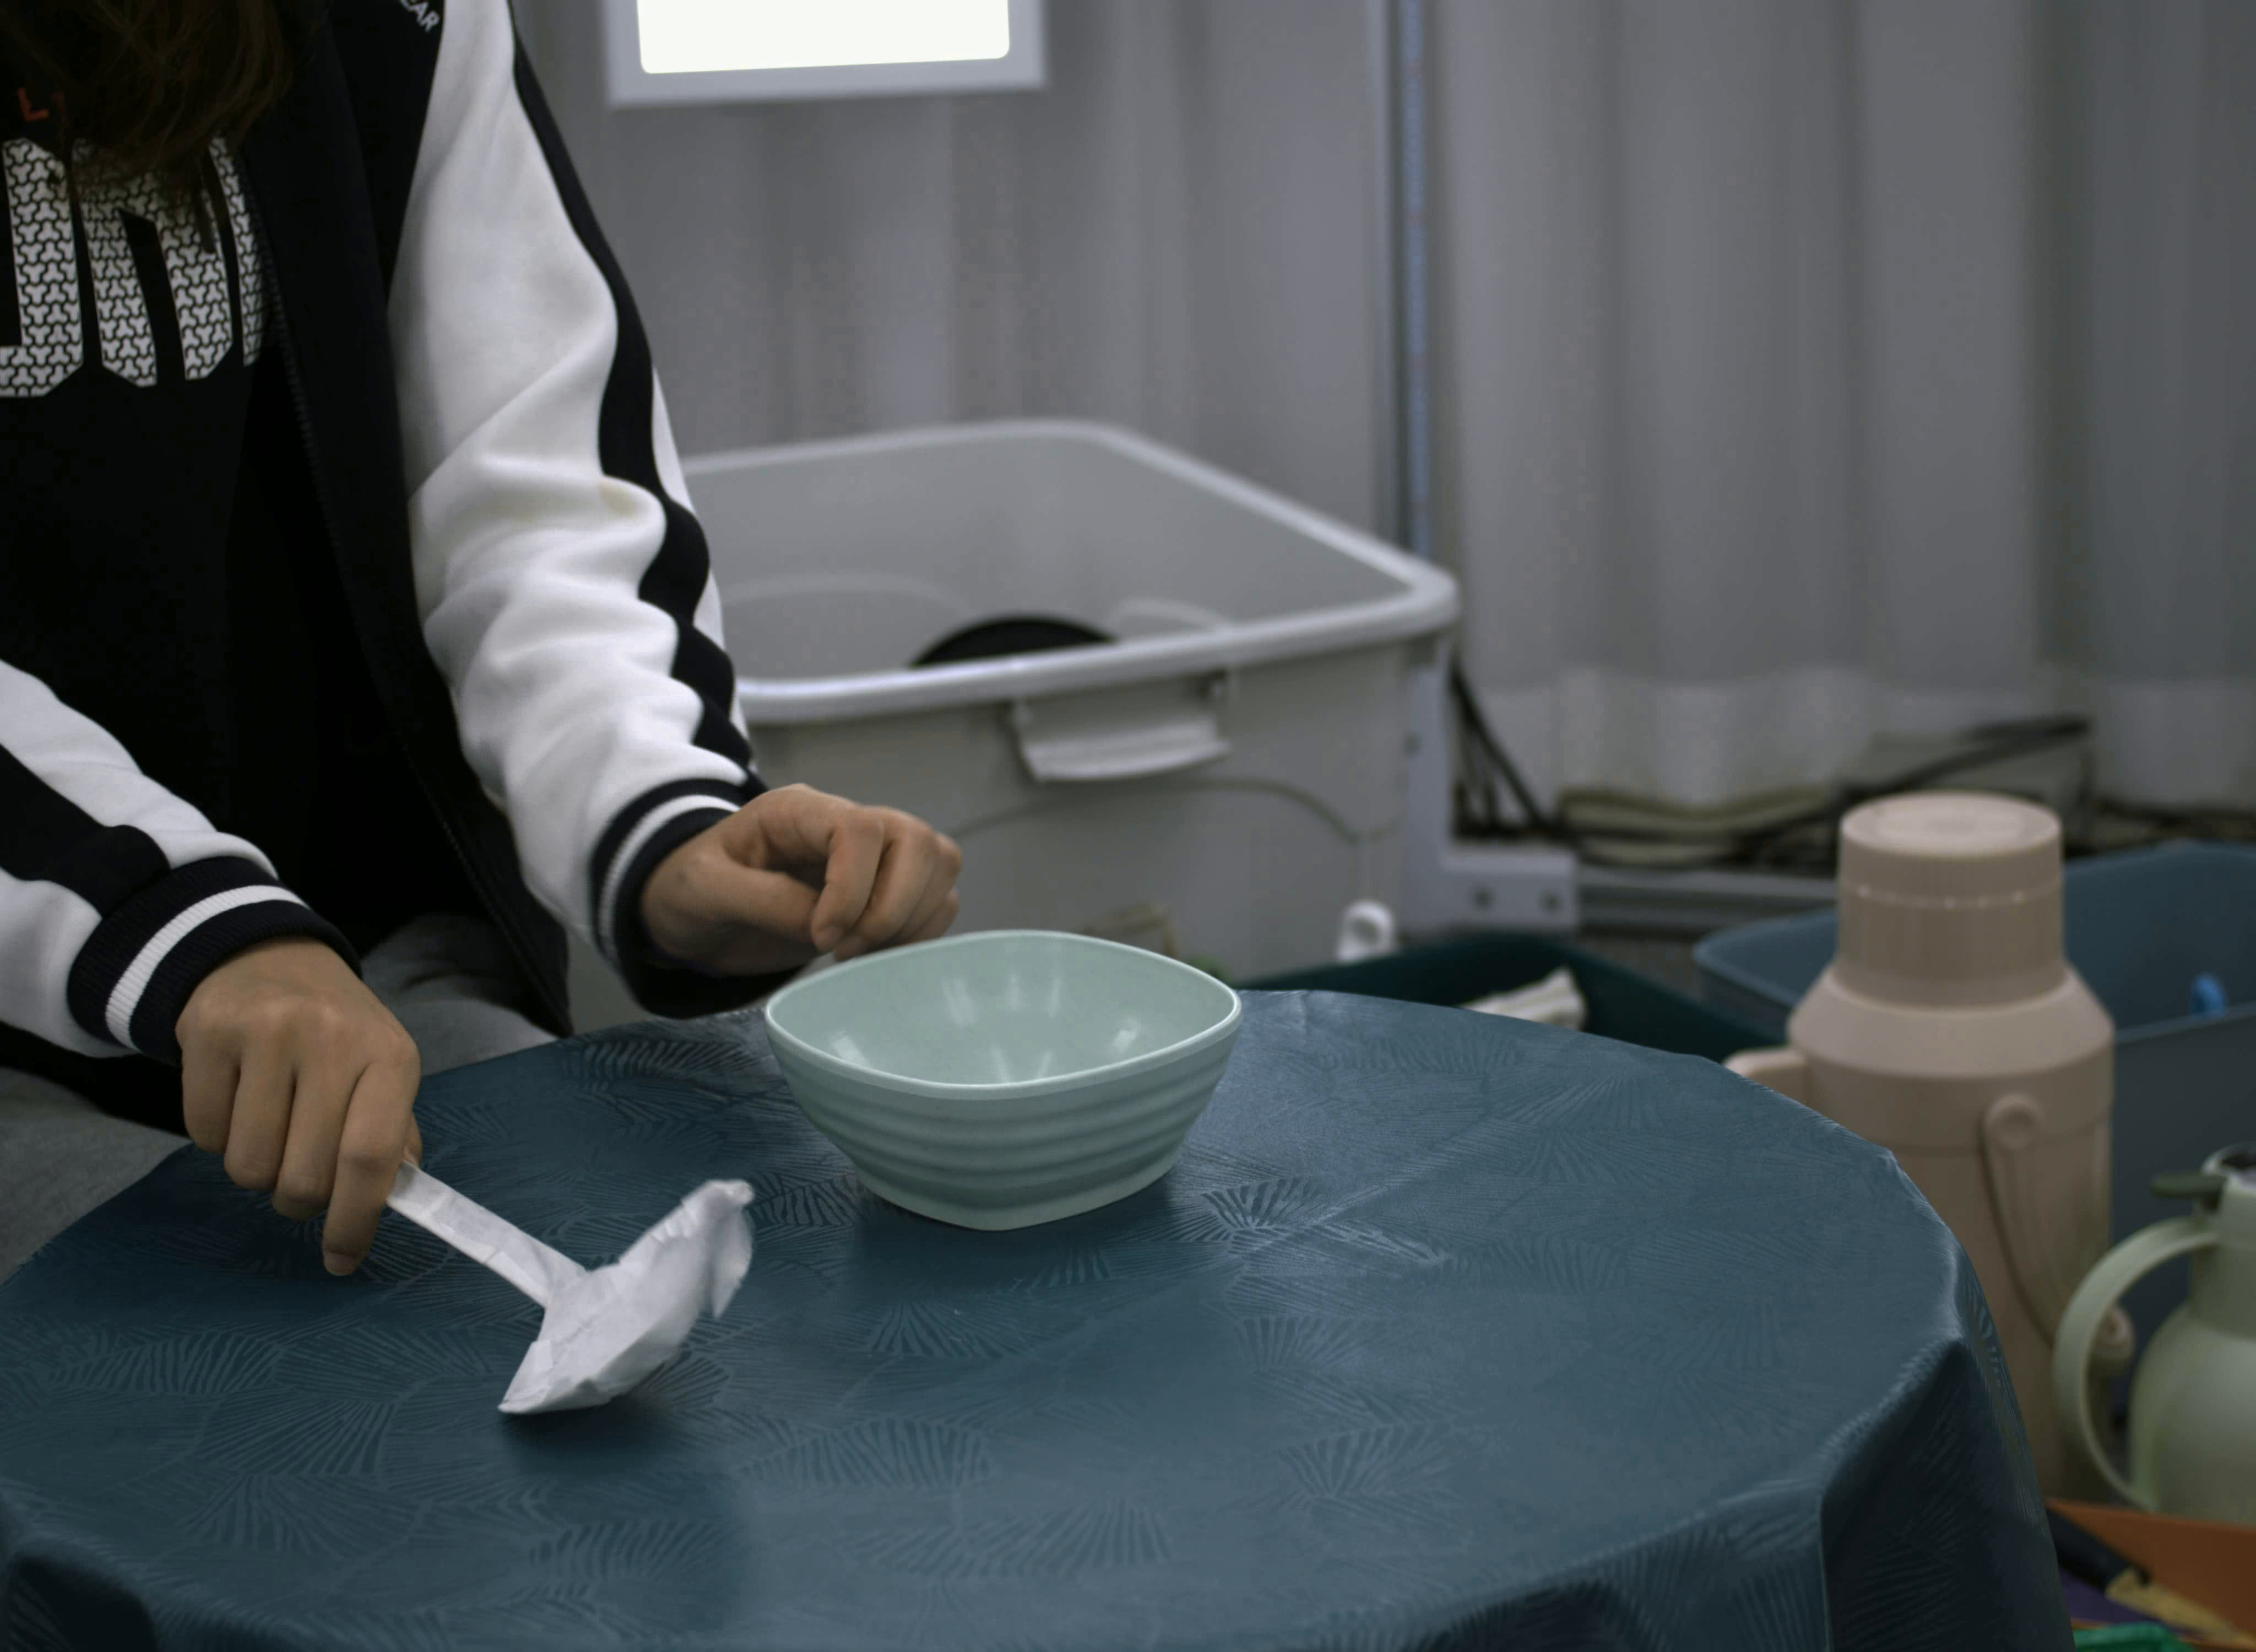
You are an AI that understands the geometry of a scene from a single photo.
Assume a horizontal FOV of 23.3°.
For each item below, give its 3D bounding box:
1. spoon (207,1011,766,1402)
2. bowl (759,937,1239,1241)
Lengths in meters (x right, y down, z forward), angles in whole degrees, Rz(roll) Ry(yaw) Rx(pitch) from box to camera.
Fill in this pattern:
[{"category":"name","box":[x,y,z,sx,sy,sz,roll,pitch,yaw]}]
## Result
[{"category":"spoon","box":[-0.202,0.094,1.622,0.101,0.058,0.280,-37,43,-22]},{"category":"bowl","box":[-0.041,0.086,1.723,0.151,0.058,0.152,0,17,0]}]
